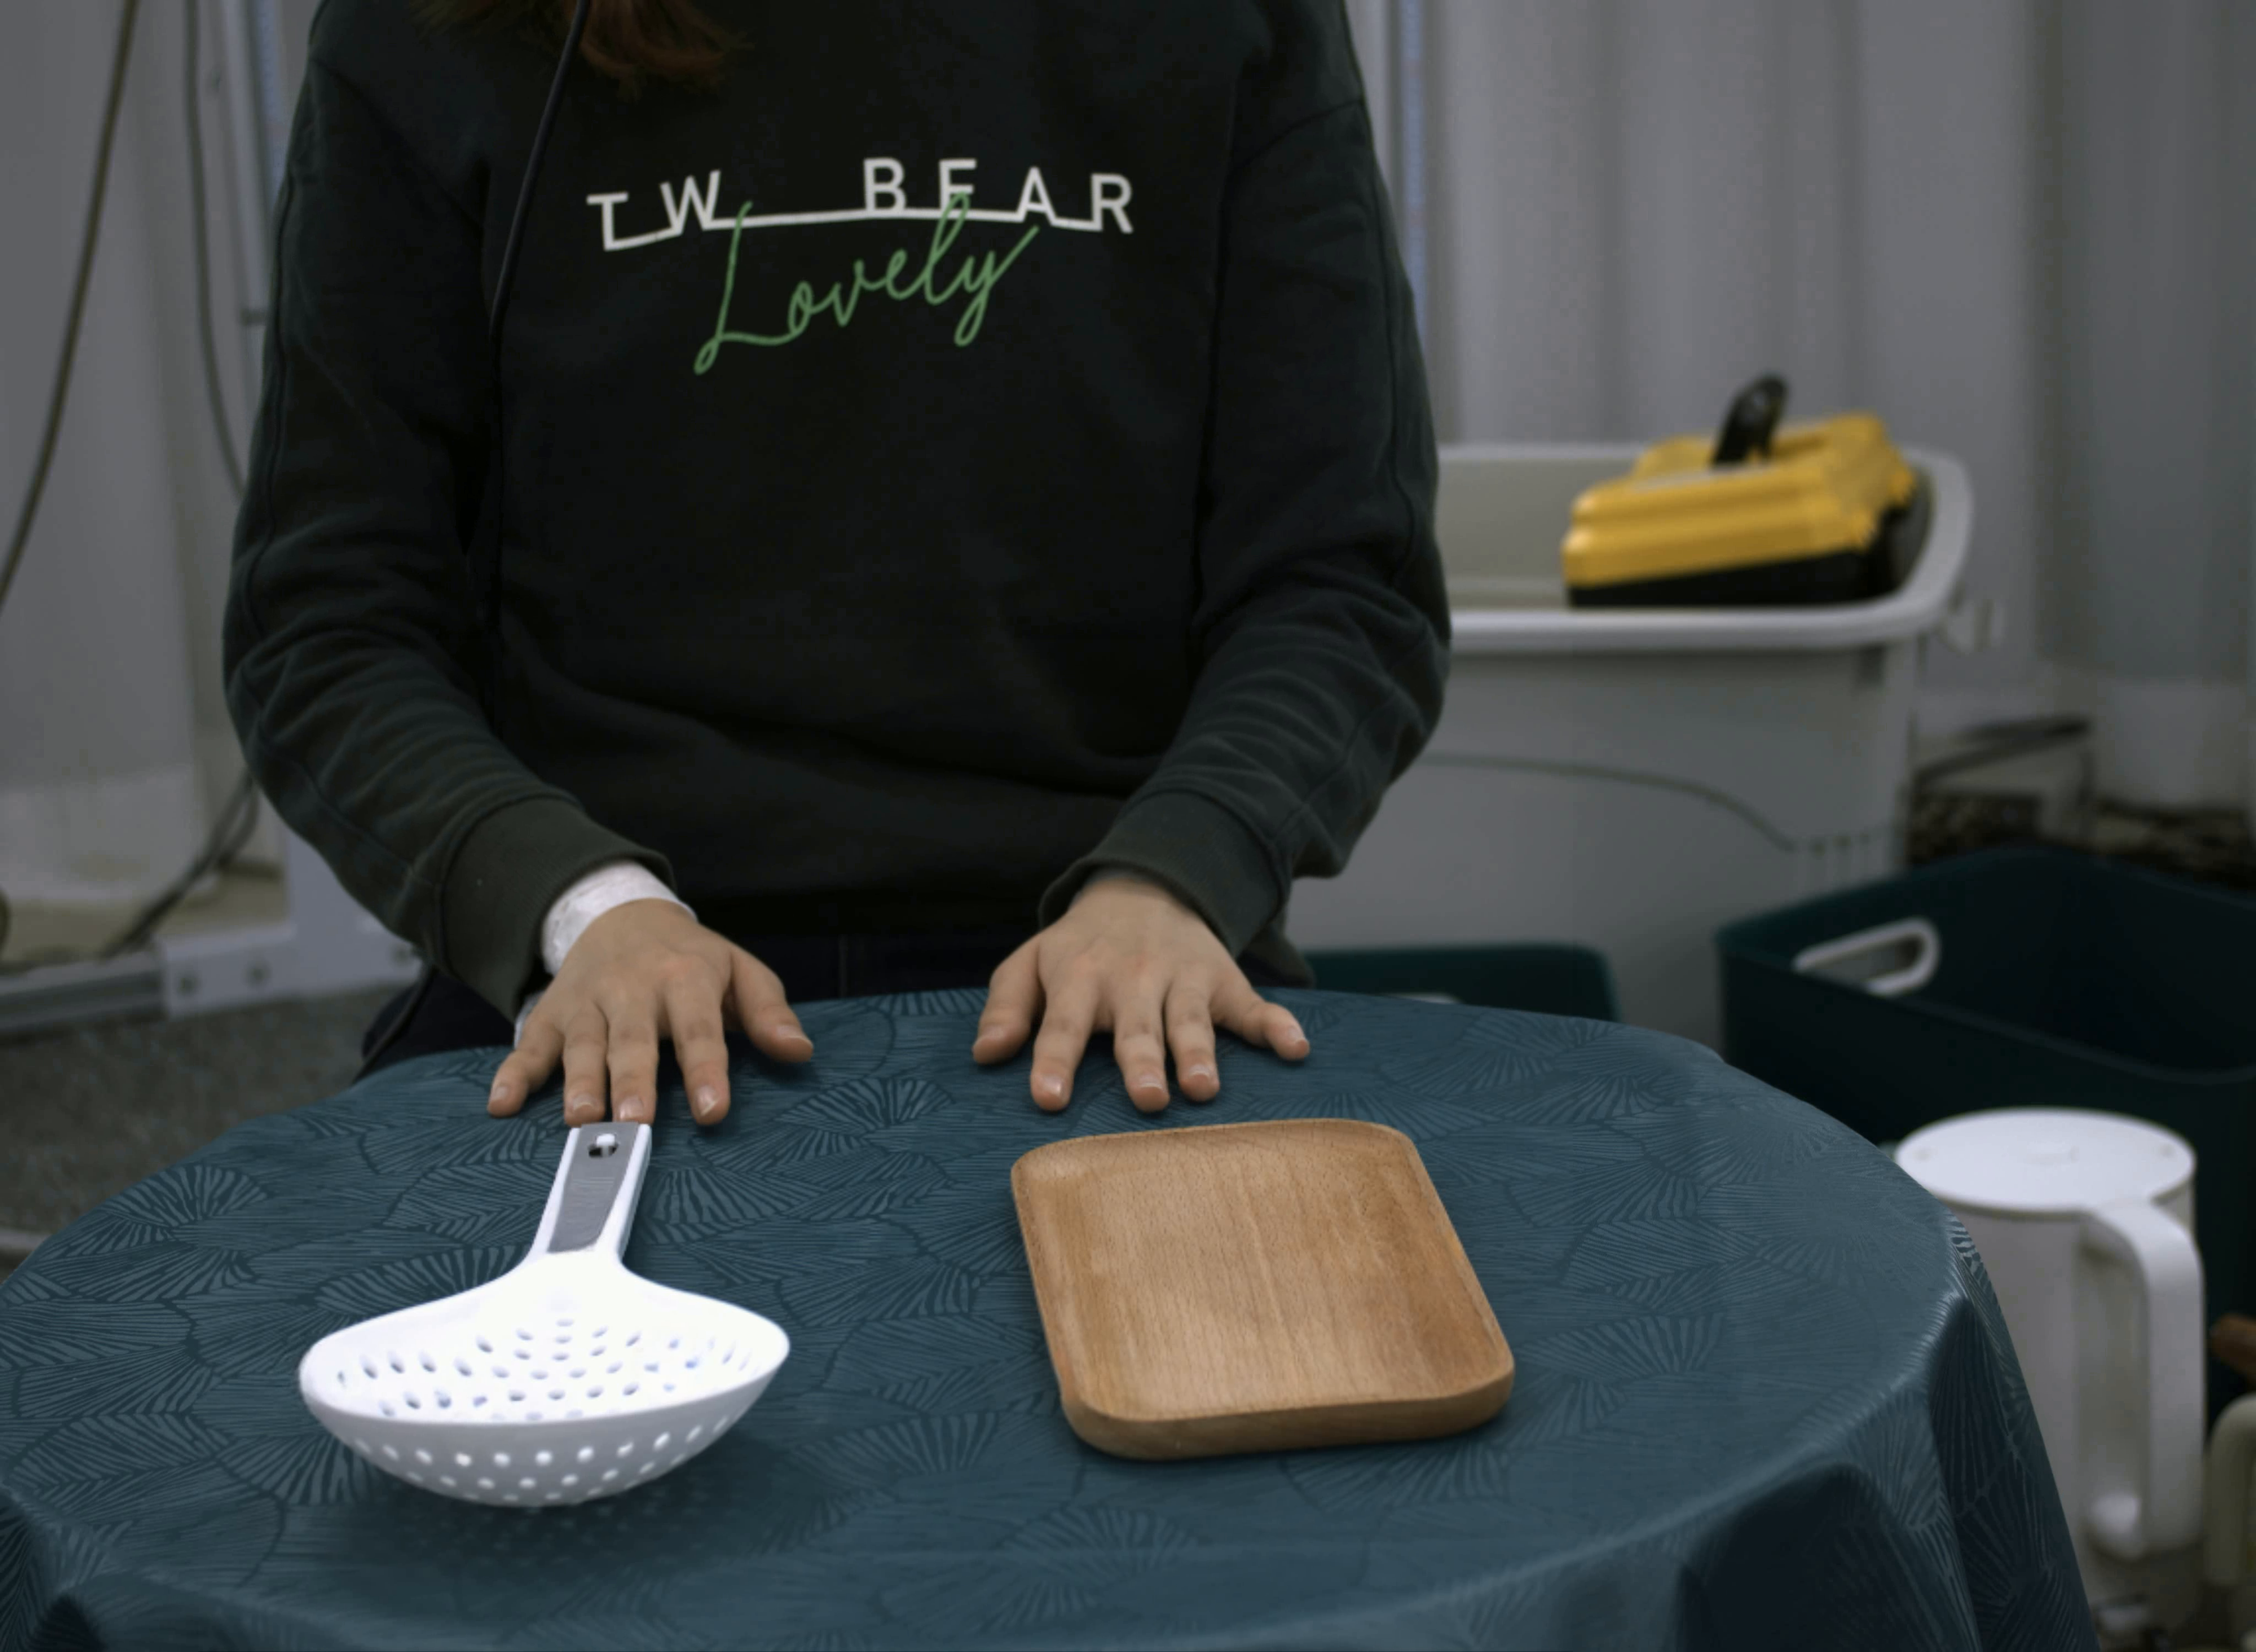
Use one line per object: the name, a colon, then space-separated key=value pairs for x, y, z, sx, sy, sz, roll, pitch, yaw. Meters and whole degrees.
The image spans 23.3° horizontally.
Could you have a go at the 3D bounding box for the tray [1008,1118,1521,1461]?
tray: x=0.036 y=0.133 z=1.606 sx=0.130 sy=0.023 sz=0.252 roll=-2 pitch=14 yaw=-5

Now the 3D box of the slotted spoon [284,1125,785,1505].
slotted spoon: x=-0.162 y=0.133 z=1.590 sx=0.135 sy=0.045 sz=0.352 roll=-1 pitch=14 yaw=-1
